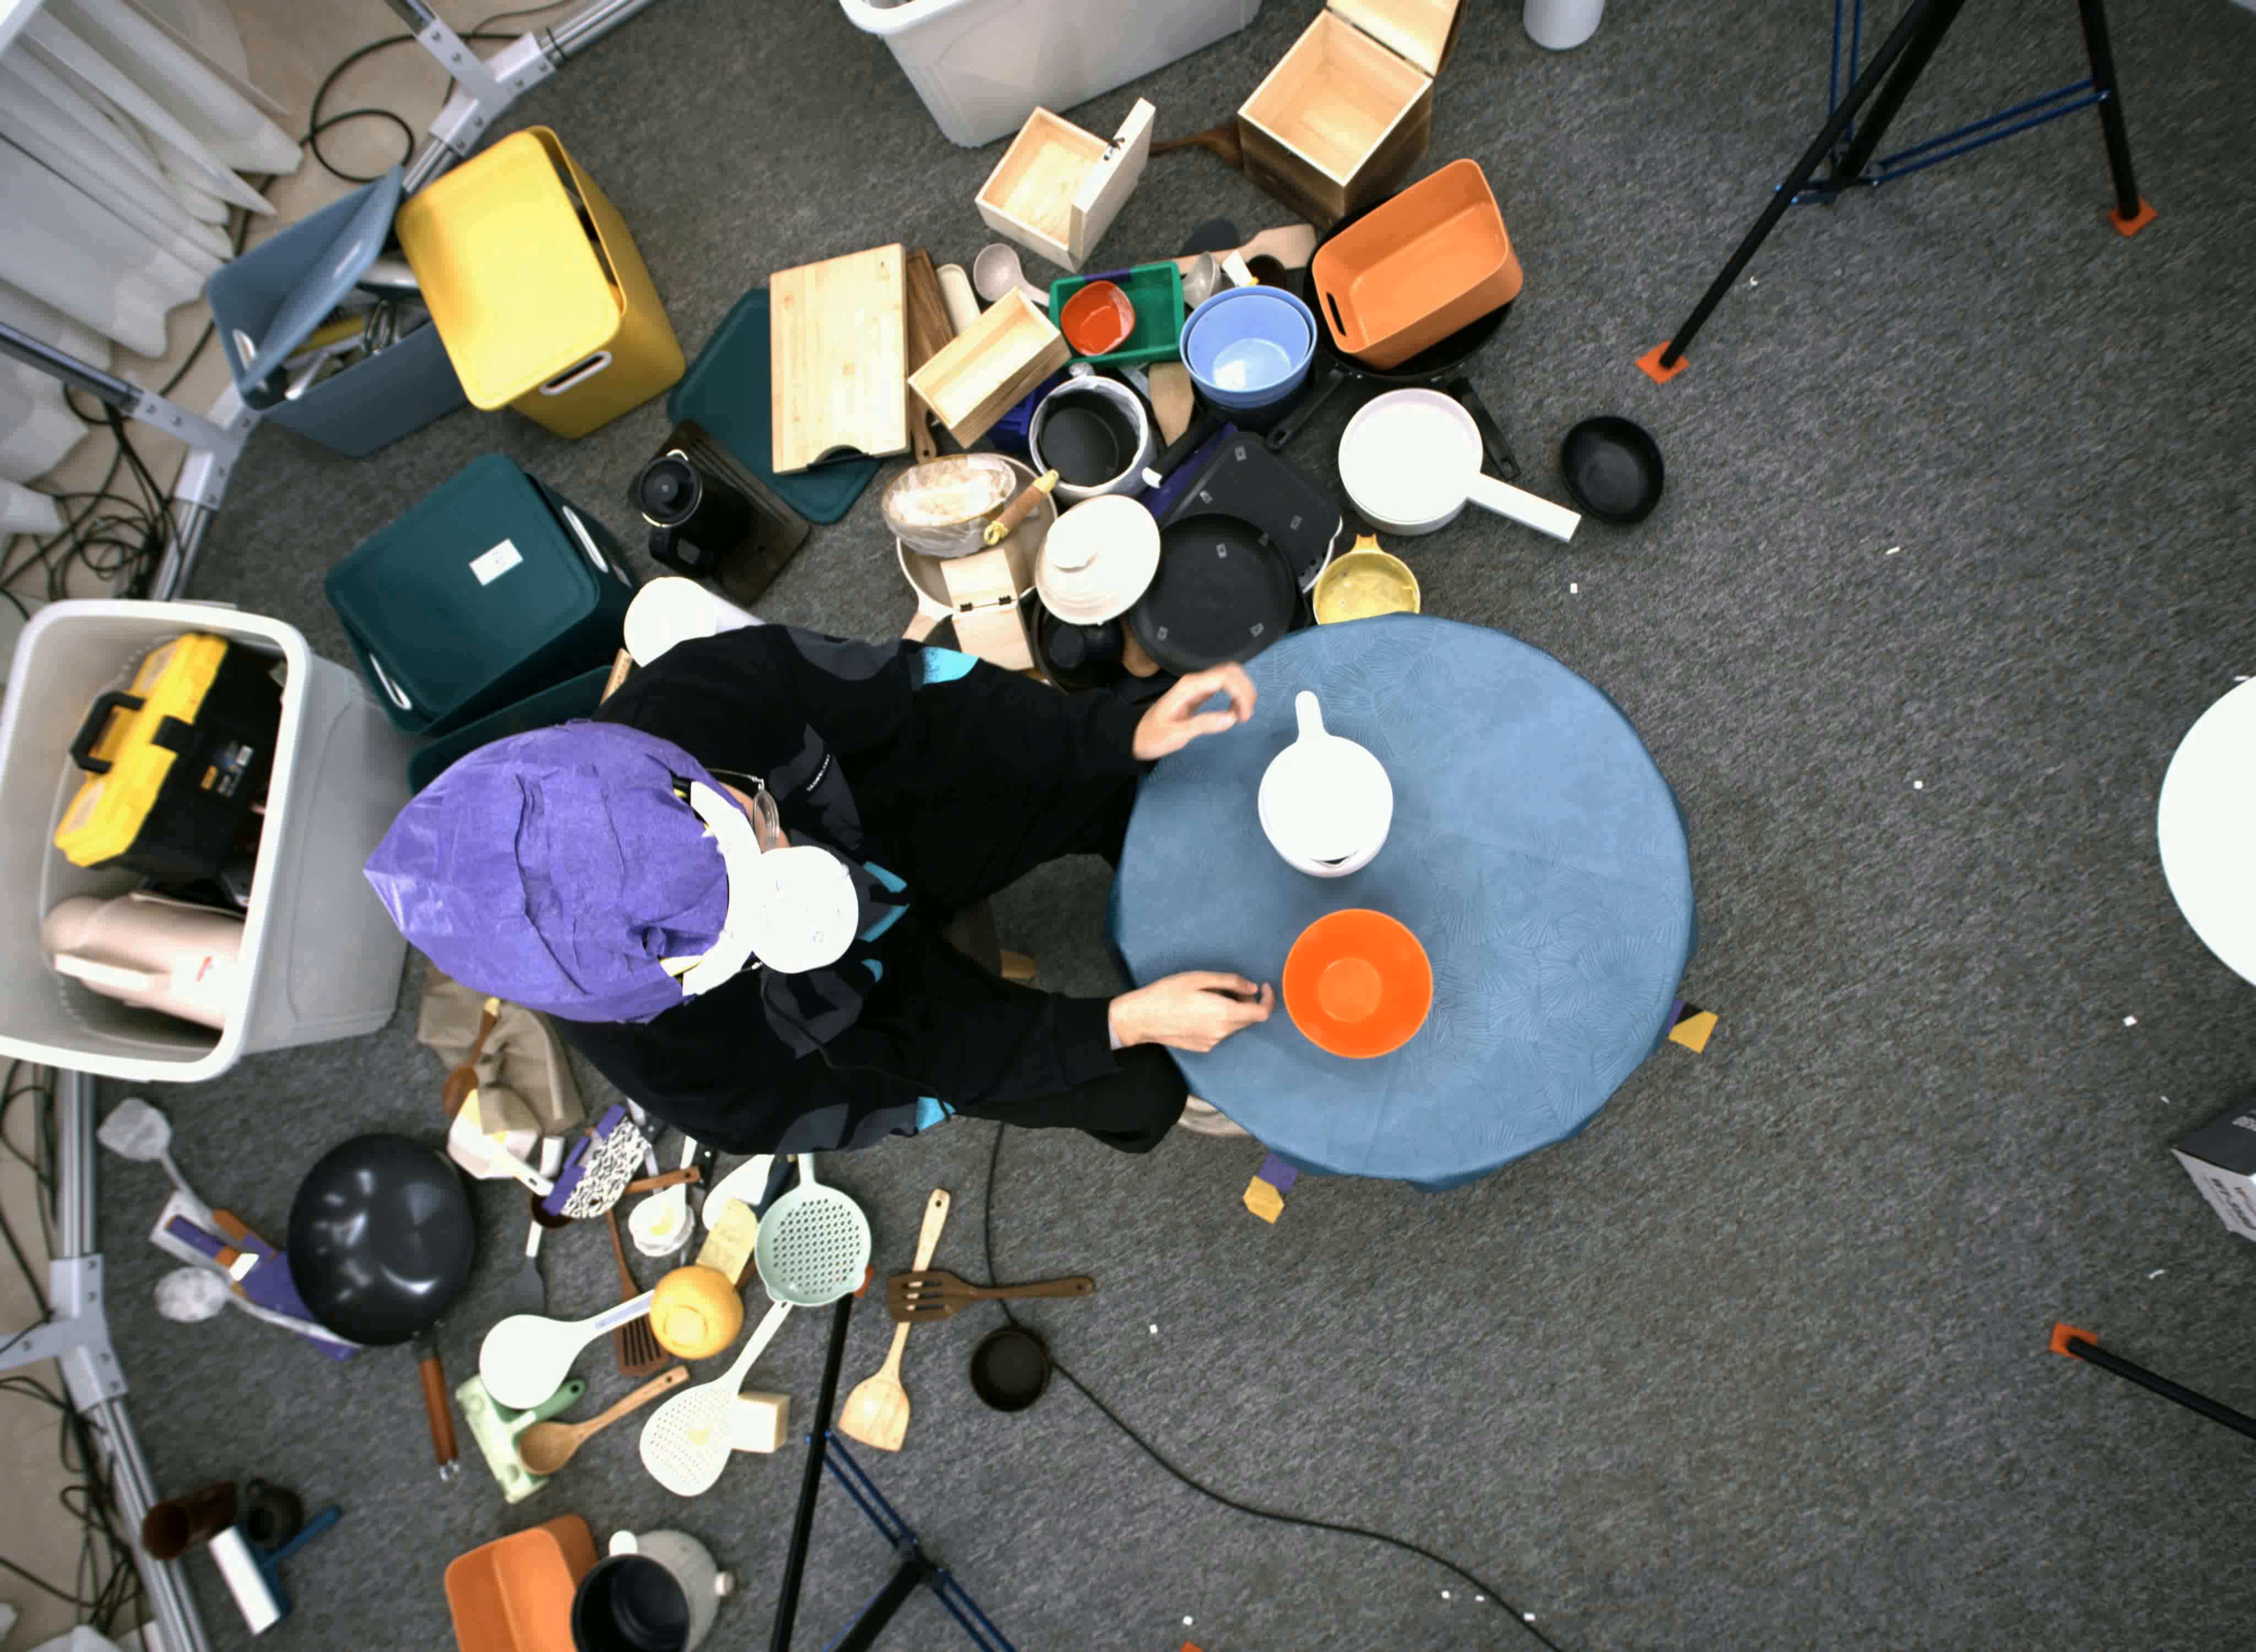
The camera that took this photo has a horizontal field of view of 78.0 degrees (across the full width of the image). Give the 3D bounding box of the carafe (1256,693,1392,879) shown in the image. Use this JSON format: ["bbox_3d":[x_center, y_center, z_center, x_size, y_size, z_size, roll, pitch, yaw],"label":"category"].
[{"bbox_3d":[0.192,-0.042,1.389,0.133,0.183,0.189,-12,81,7],"label":"carafe"}]

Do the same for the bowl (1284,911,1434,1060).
[{"bbox_3d":[0.234,0.161,1.406,0.148,0.105,0.147,-1,86,9],"label":"bowl"}]
